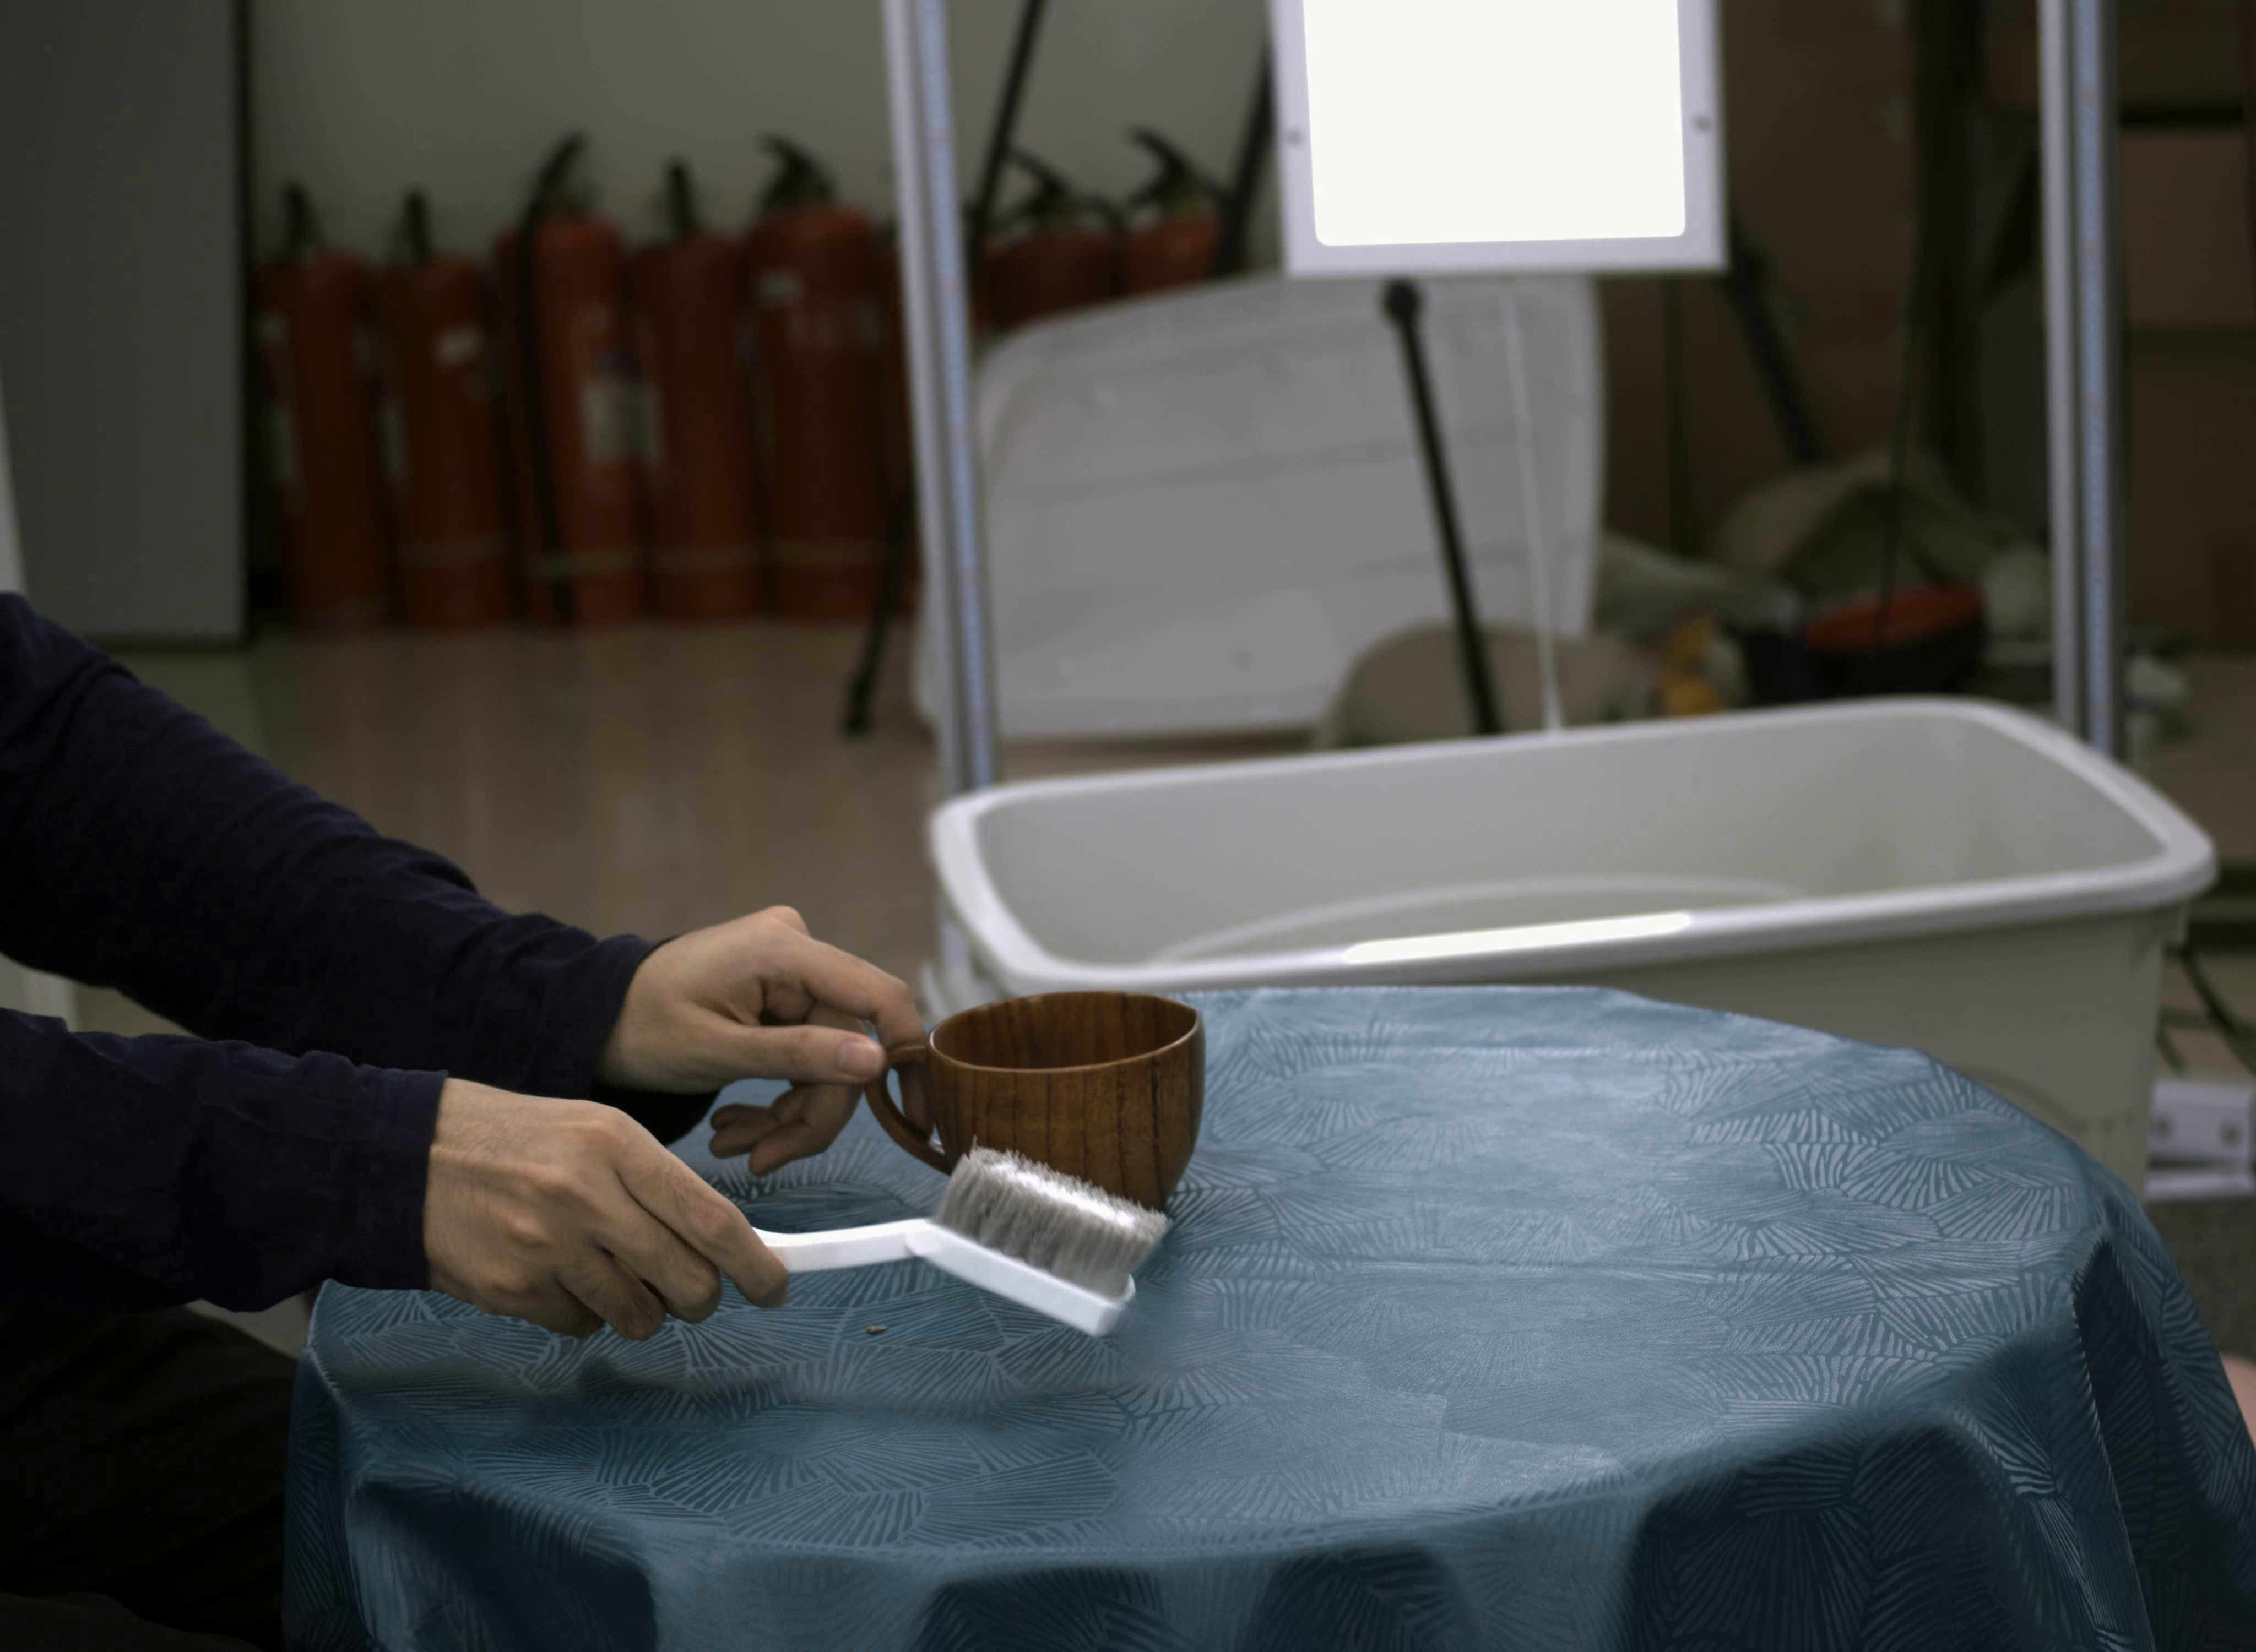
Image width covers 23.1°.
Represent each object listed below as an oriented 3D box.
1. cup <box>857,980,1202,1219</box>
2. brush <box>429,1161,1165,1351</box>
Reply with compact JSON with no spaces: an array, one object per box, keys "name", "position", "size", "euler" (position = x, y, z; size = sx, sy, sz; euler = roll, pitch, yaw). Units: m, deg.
[{"name":"cup","position":[-0.033,0.097,1.884],"size":[0.120,0.068,0.095],"euler":[0,16,11]},{"name":"brush","position":[-0.107,0.123,1.725],"size":[0.246,0.050,0.034],"euler":[7,18,20]}]
